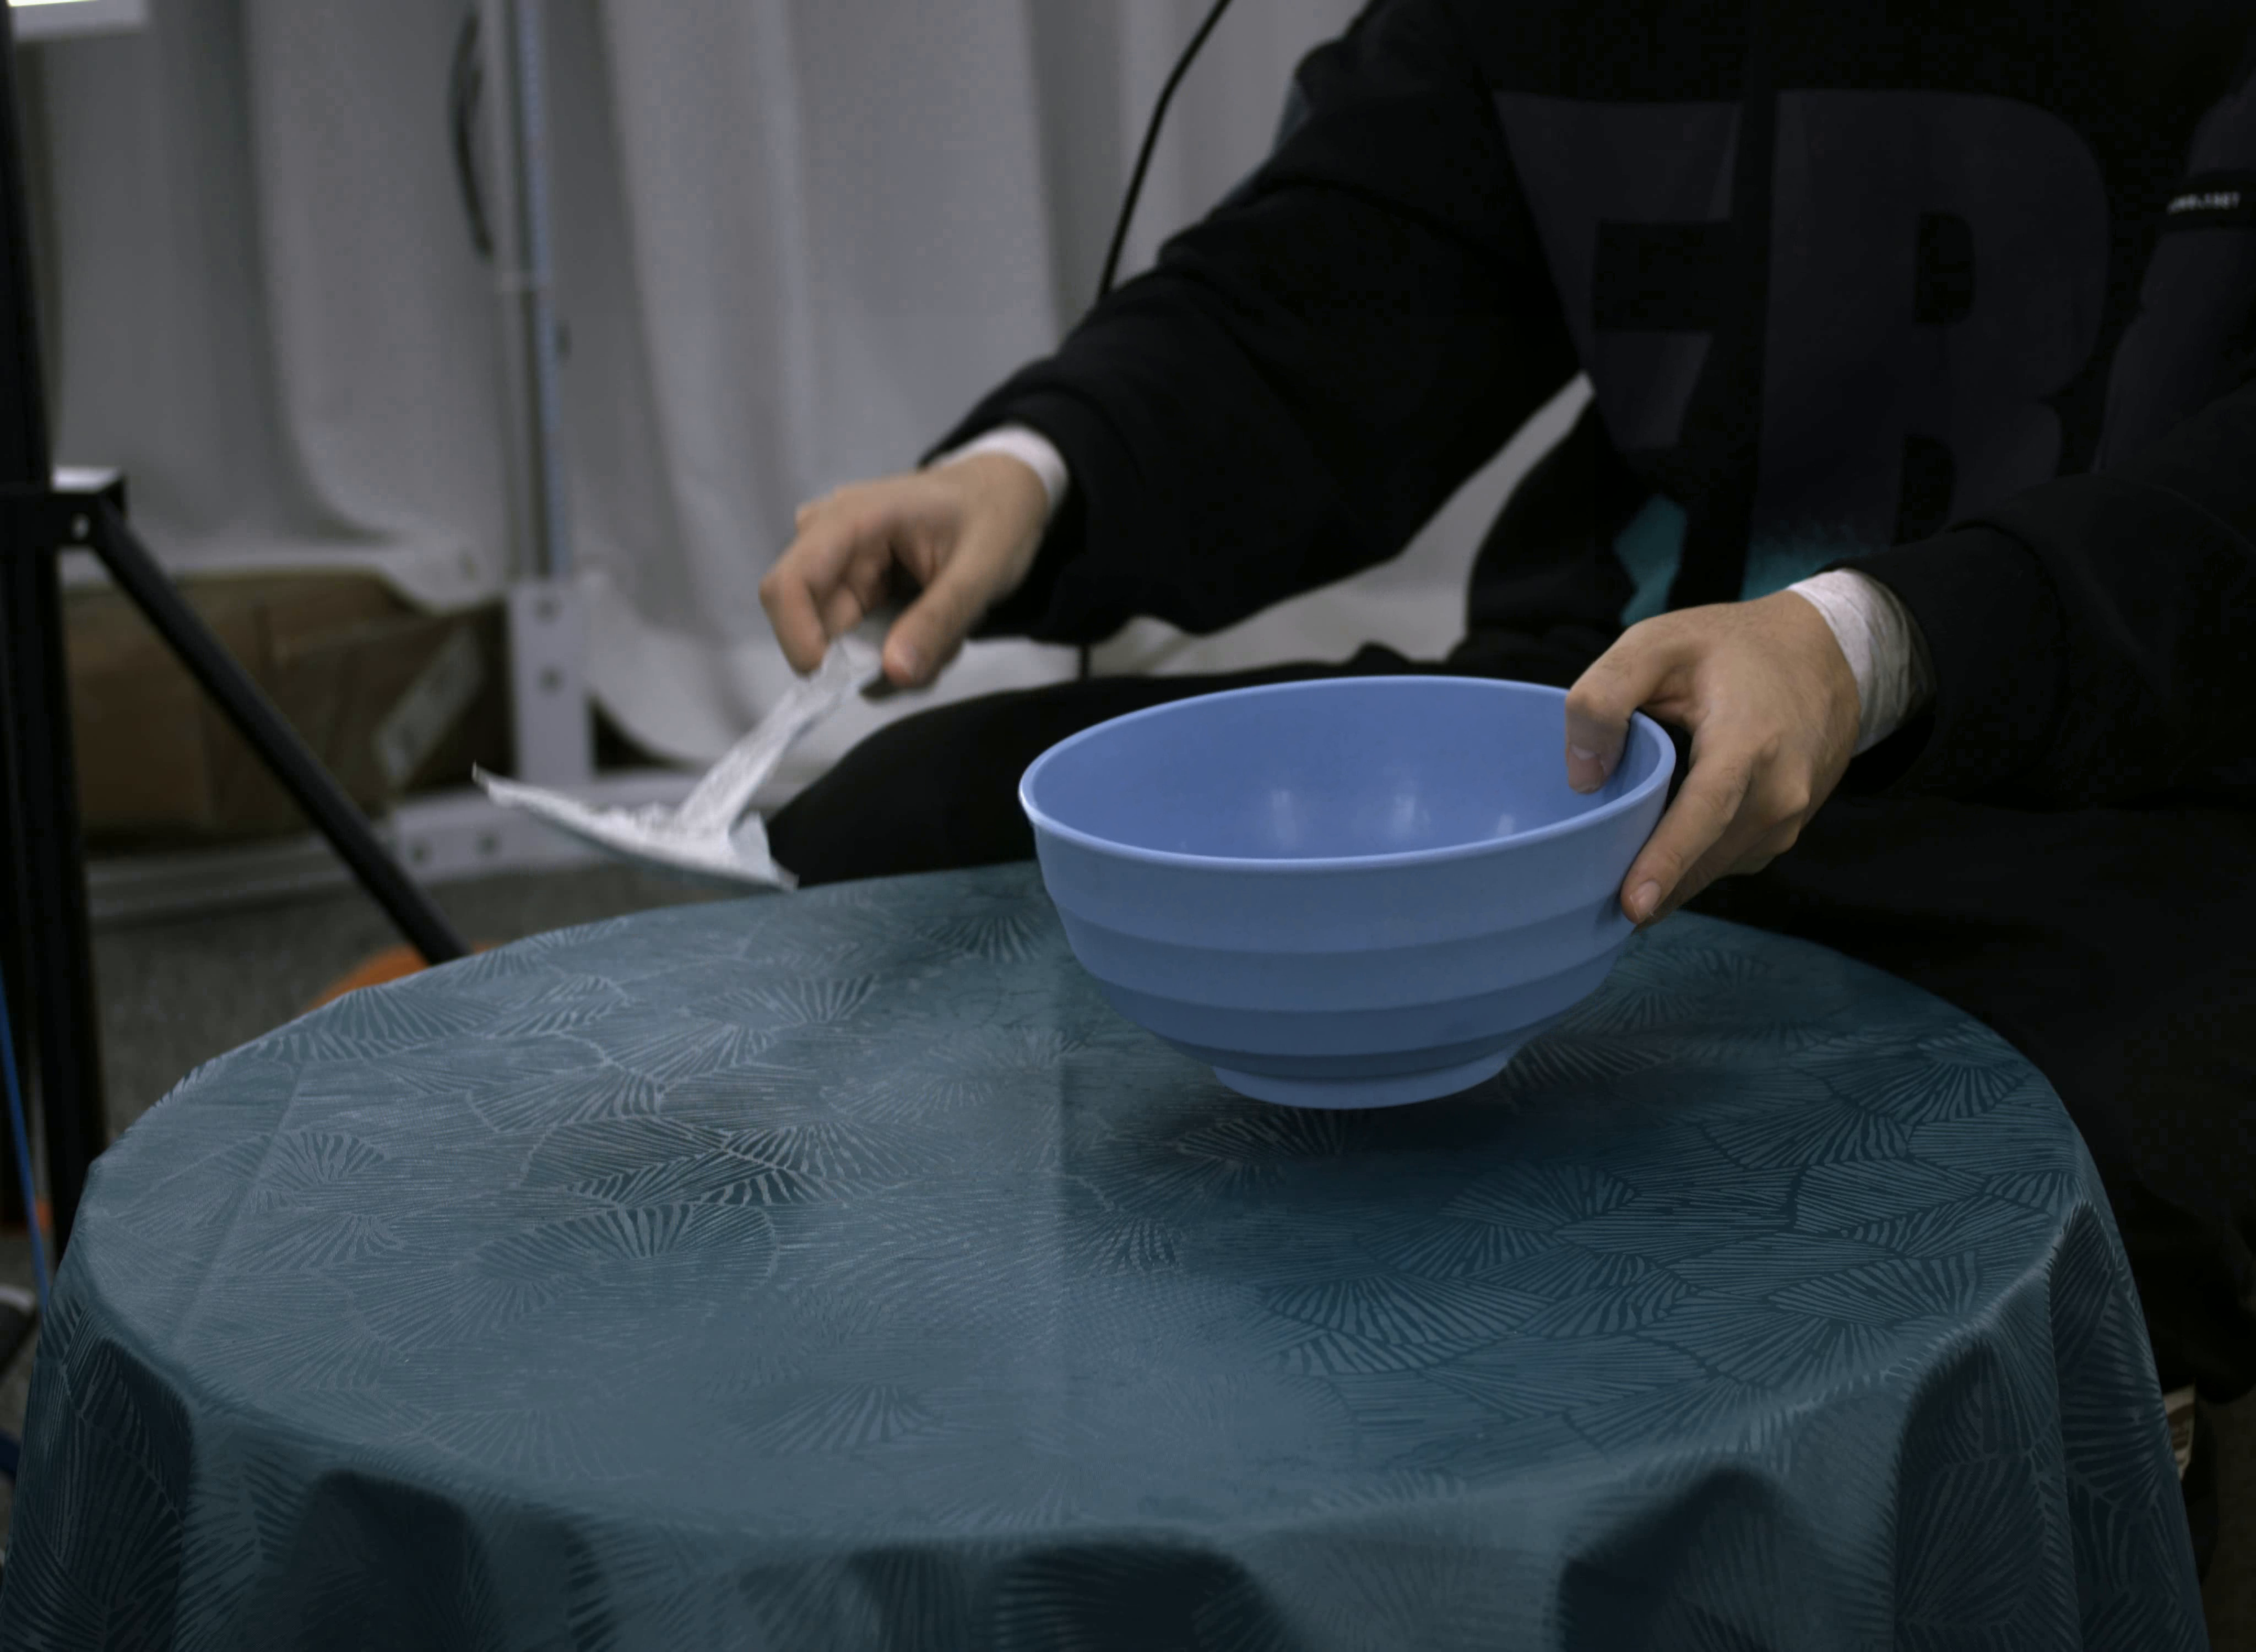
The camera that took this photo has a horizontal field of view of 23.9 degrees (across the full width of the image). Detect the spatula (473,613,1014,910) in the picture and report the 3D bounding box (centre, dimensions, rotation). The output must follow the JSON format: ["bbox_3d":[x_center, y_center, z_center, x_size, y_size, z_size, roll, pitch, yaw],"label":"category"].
[{"bbox_3d":[-0.102,-0.033,1.723,0.099,0.045,0.361,17,23,13],"label":"spatula"}]

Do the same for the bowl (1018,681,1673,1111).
[{"bbox_3d":[0.068,0.026,1.597,0.195,0.095,0.197,-6,16,0],"label":"bowl"}]
